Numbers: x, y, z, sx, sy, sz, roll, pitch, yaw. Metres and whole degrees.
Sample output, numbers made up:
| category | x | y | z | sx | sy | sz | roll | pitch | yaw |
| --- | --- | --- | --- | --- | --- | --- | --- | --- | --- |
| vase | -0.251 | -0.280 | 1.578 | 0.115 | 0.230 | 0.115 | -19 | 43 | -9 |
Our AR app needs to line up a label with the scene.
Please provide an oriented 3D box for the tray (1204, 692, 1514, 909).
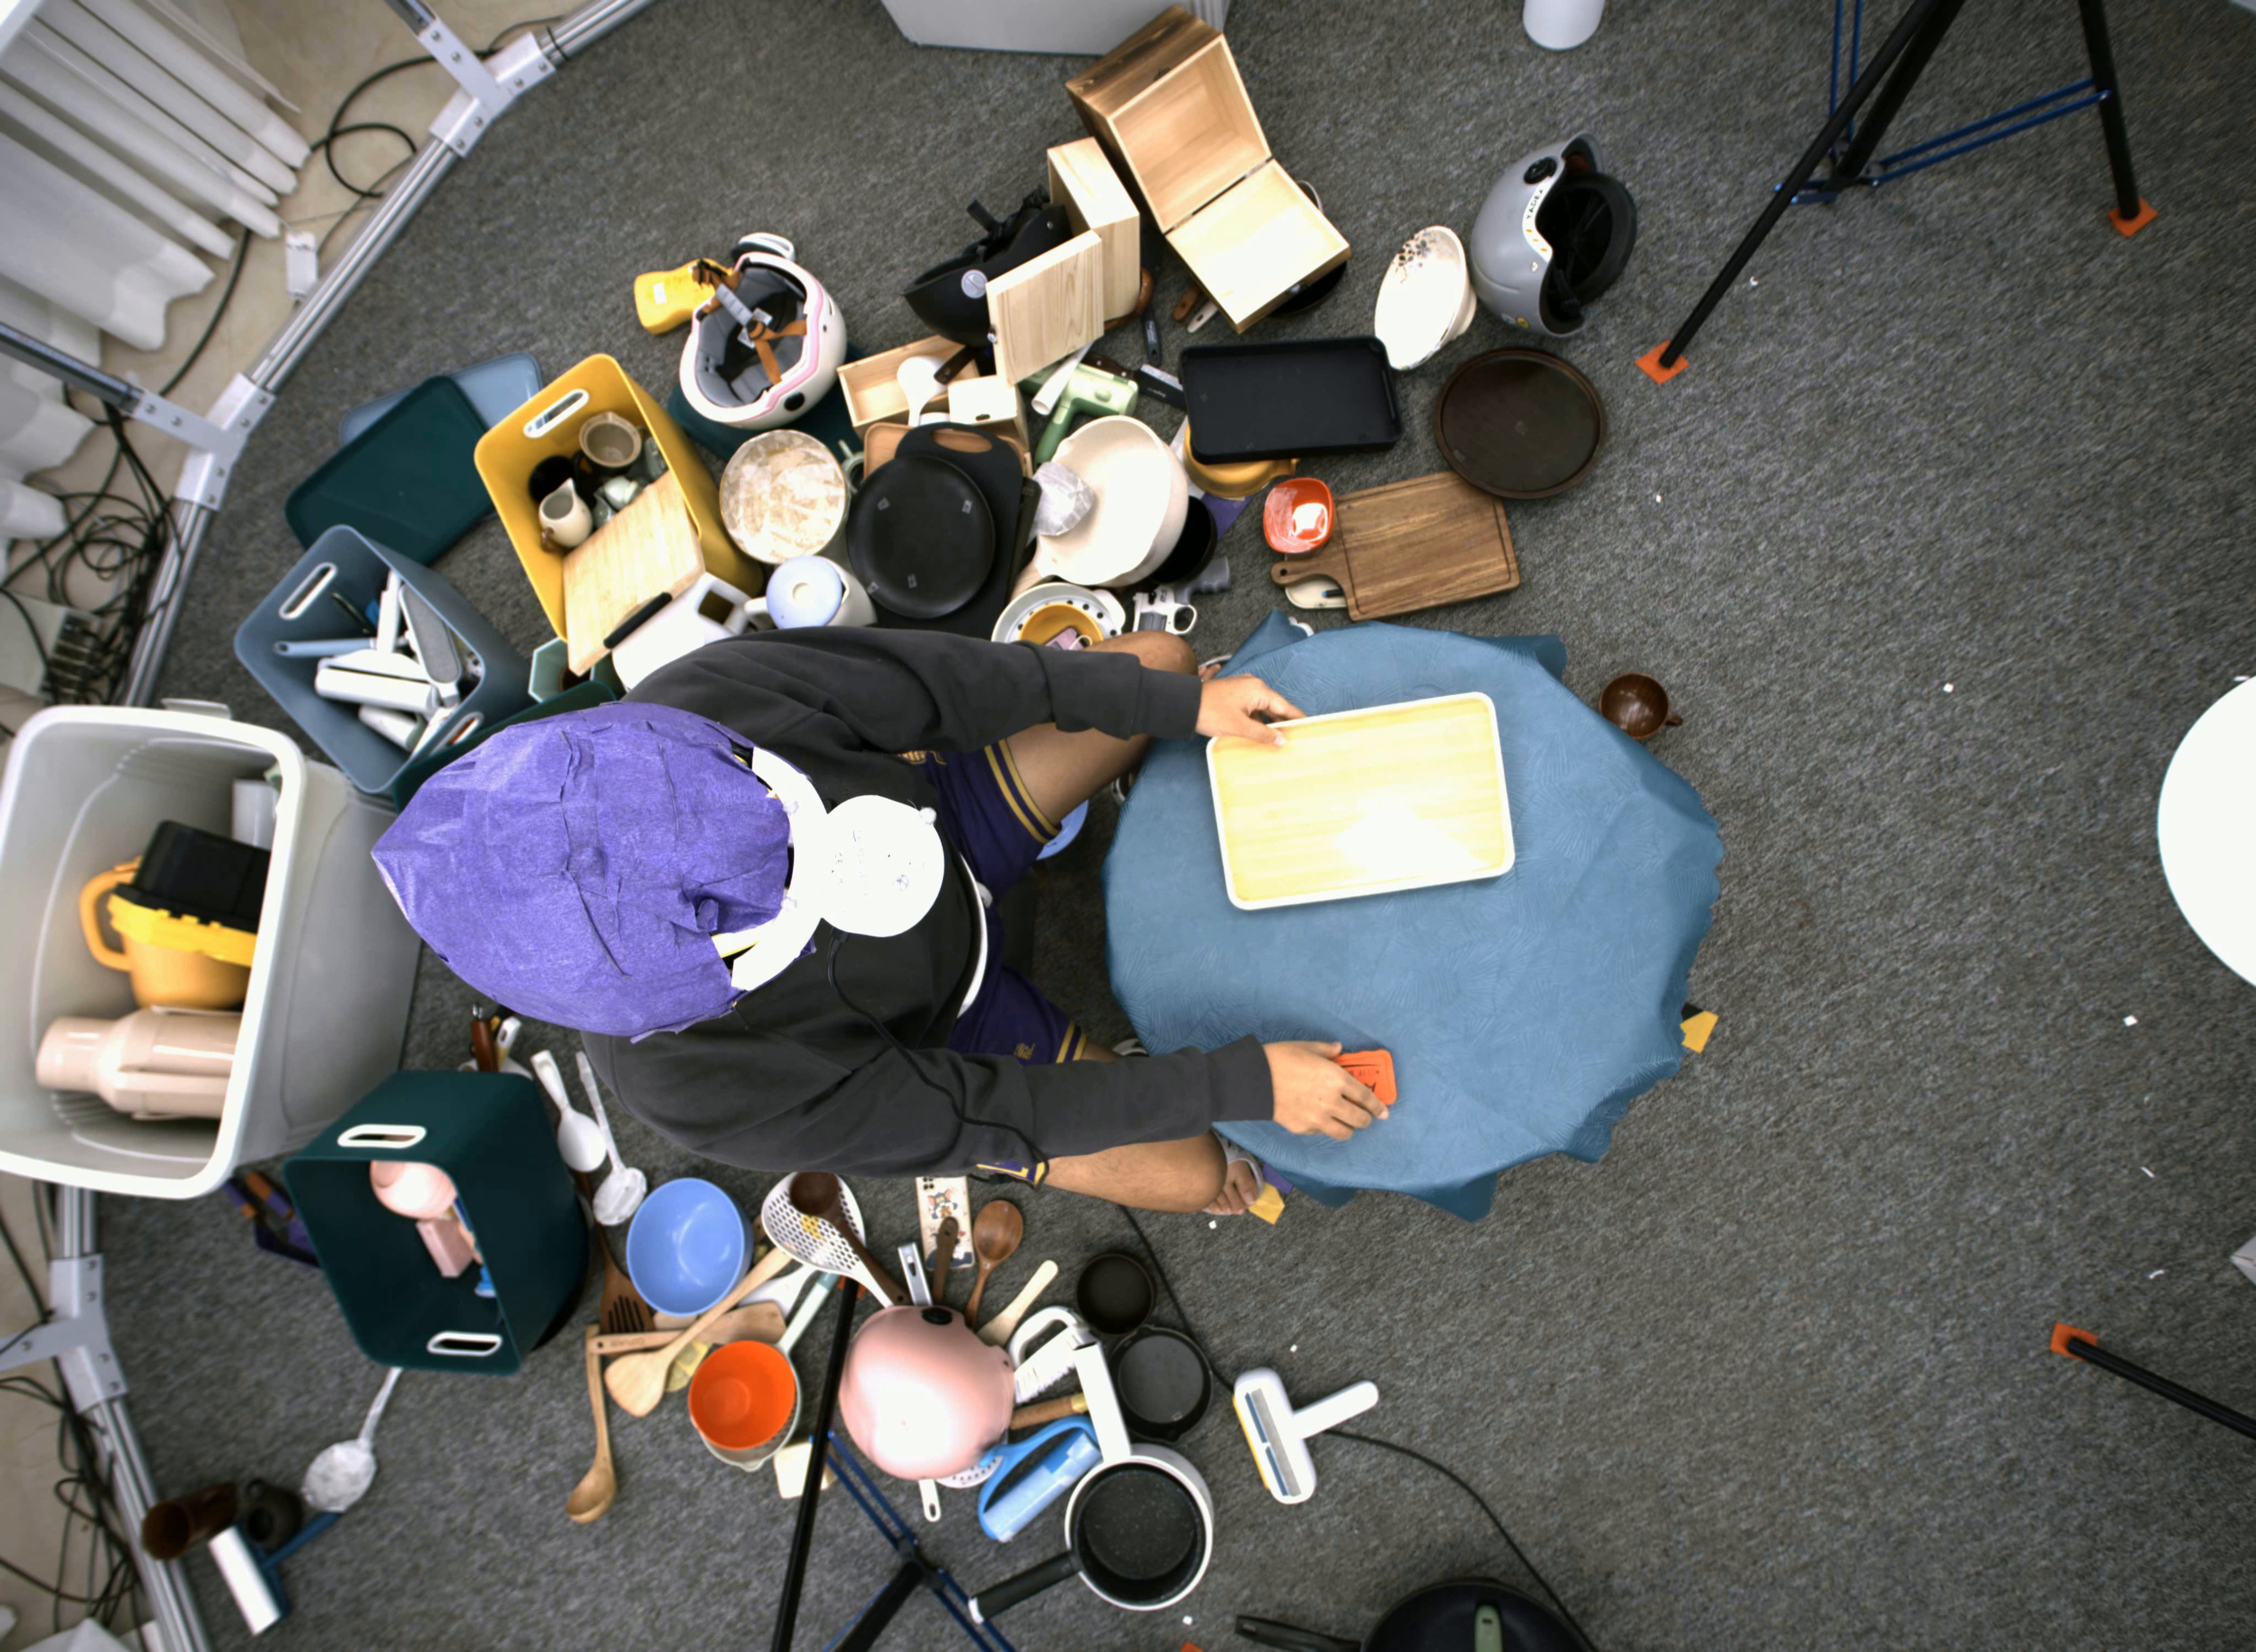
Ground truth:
| category | x | y | z | sx | sy | sz | roll | pitch | yaw |
| --- | --- | --- | --- | --- | --- | --- | --- | --- | --- |
| tray | 0.240 | -0.027 | 1.439 | 0.302 | 0.027 | 0.192 | -8 | 96 | 10 |

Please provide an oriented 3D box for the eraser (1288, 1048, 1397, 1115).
| category | x | y | z | sx | sy | sz | roll | pitch | yaw |
| --- | --- | --- | --- | --- | --- | --- | --- | --- | --- |
| eraser | 0.223 | 0.265 | 1.443 | 0.108 | 0.023 | 0.058 | -10 | 78 | 11 |
